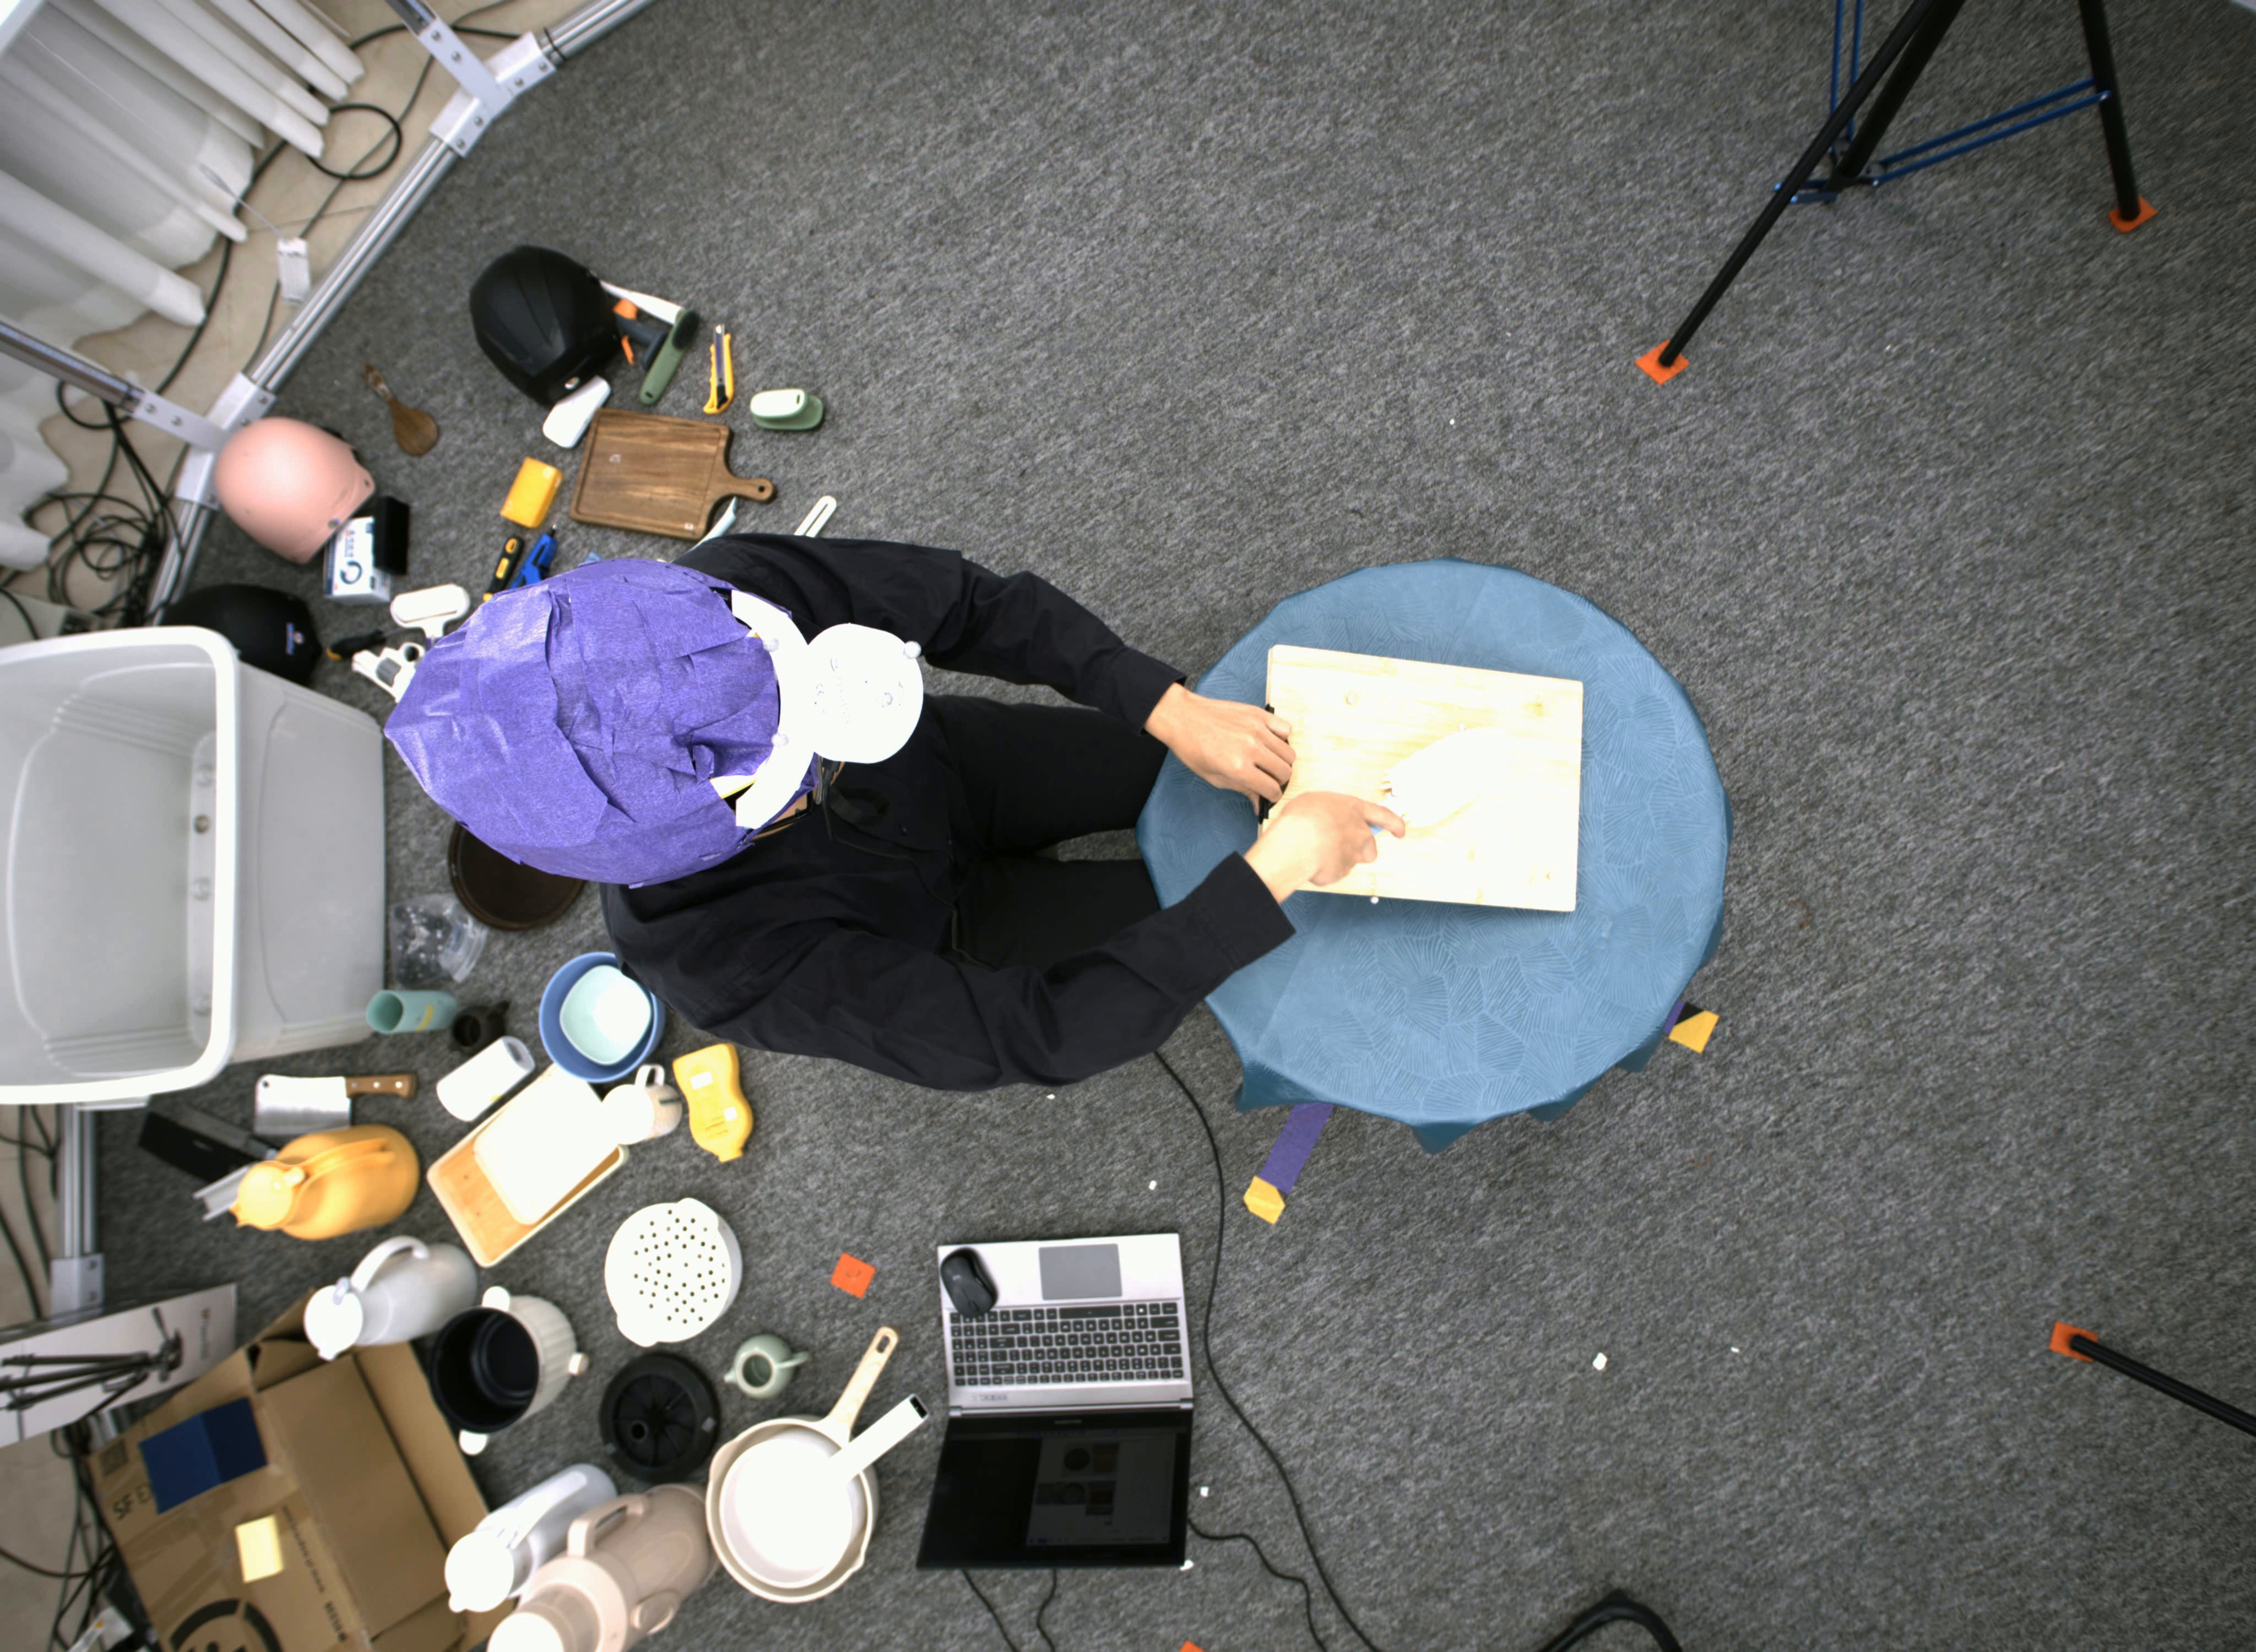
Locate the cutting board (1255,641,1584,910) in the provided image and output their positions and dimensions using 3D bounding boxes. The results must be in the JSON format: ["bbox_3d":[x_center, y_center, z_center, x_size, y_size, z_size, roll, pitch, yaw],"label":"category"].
[{"bbox_3d":[0.299,-0.049,1.387,0.348,0.024,0.249,3,87,-12],"label":"cutting board"}]

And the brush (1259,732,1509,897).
[{"bbox_3d":[0.234,-0.011,1.319,0.321,0.086,0.082,-29,51,-24],"label":"brush"}]
